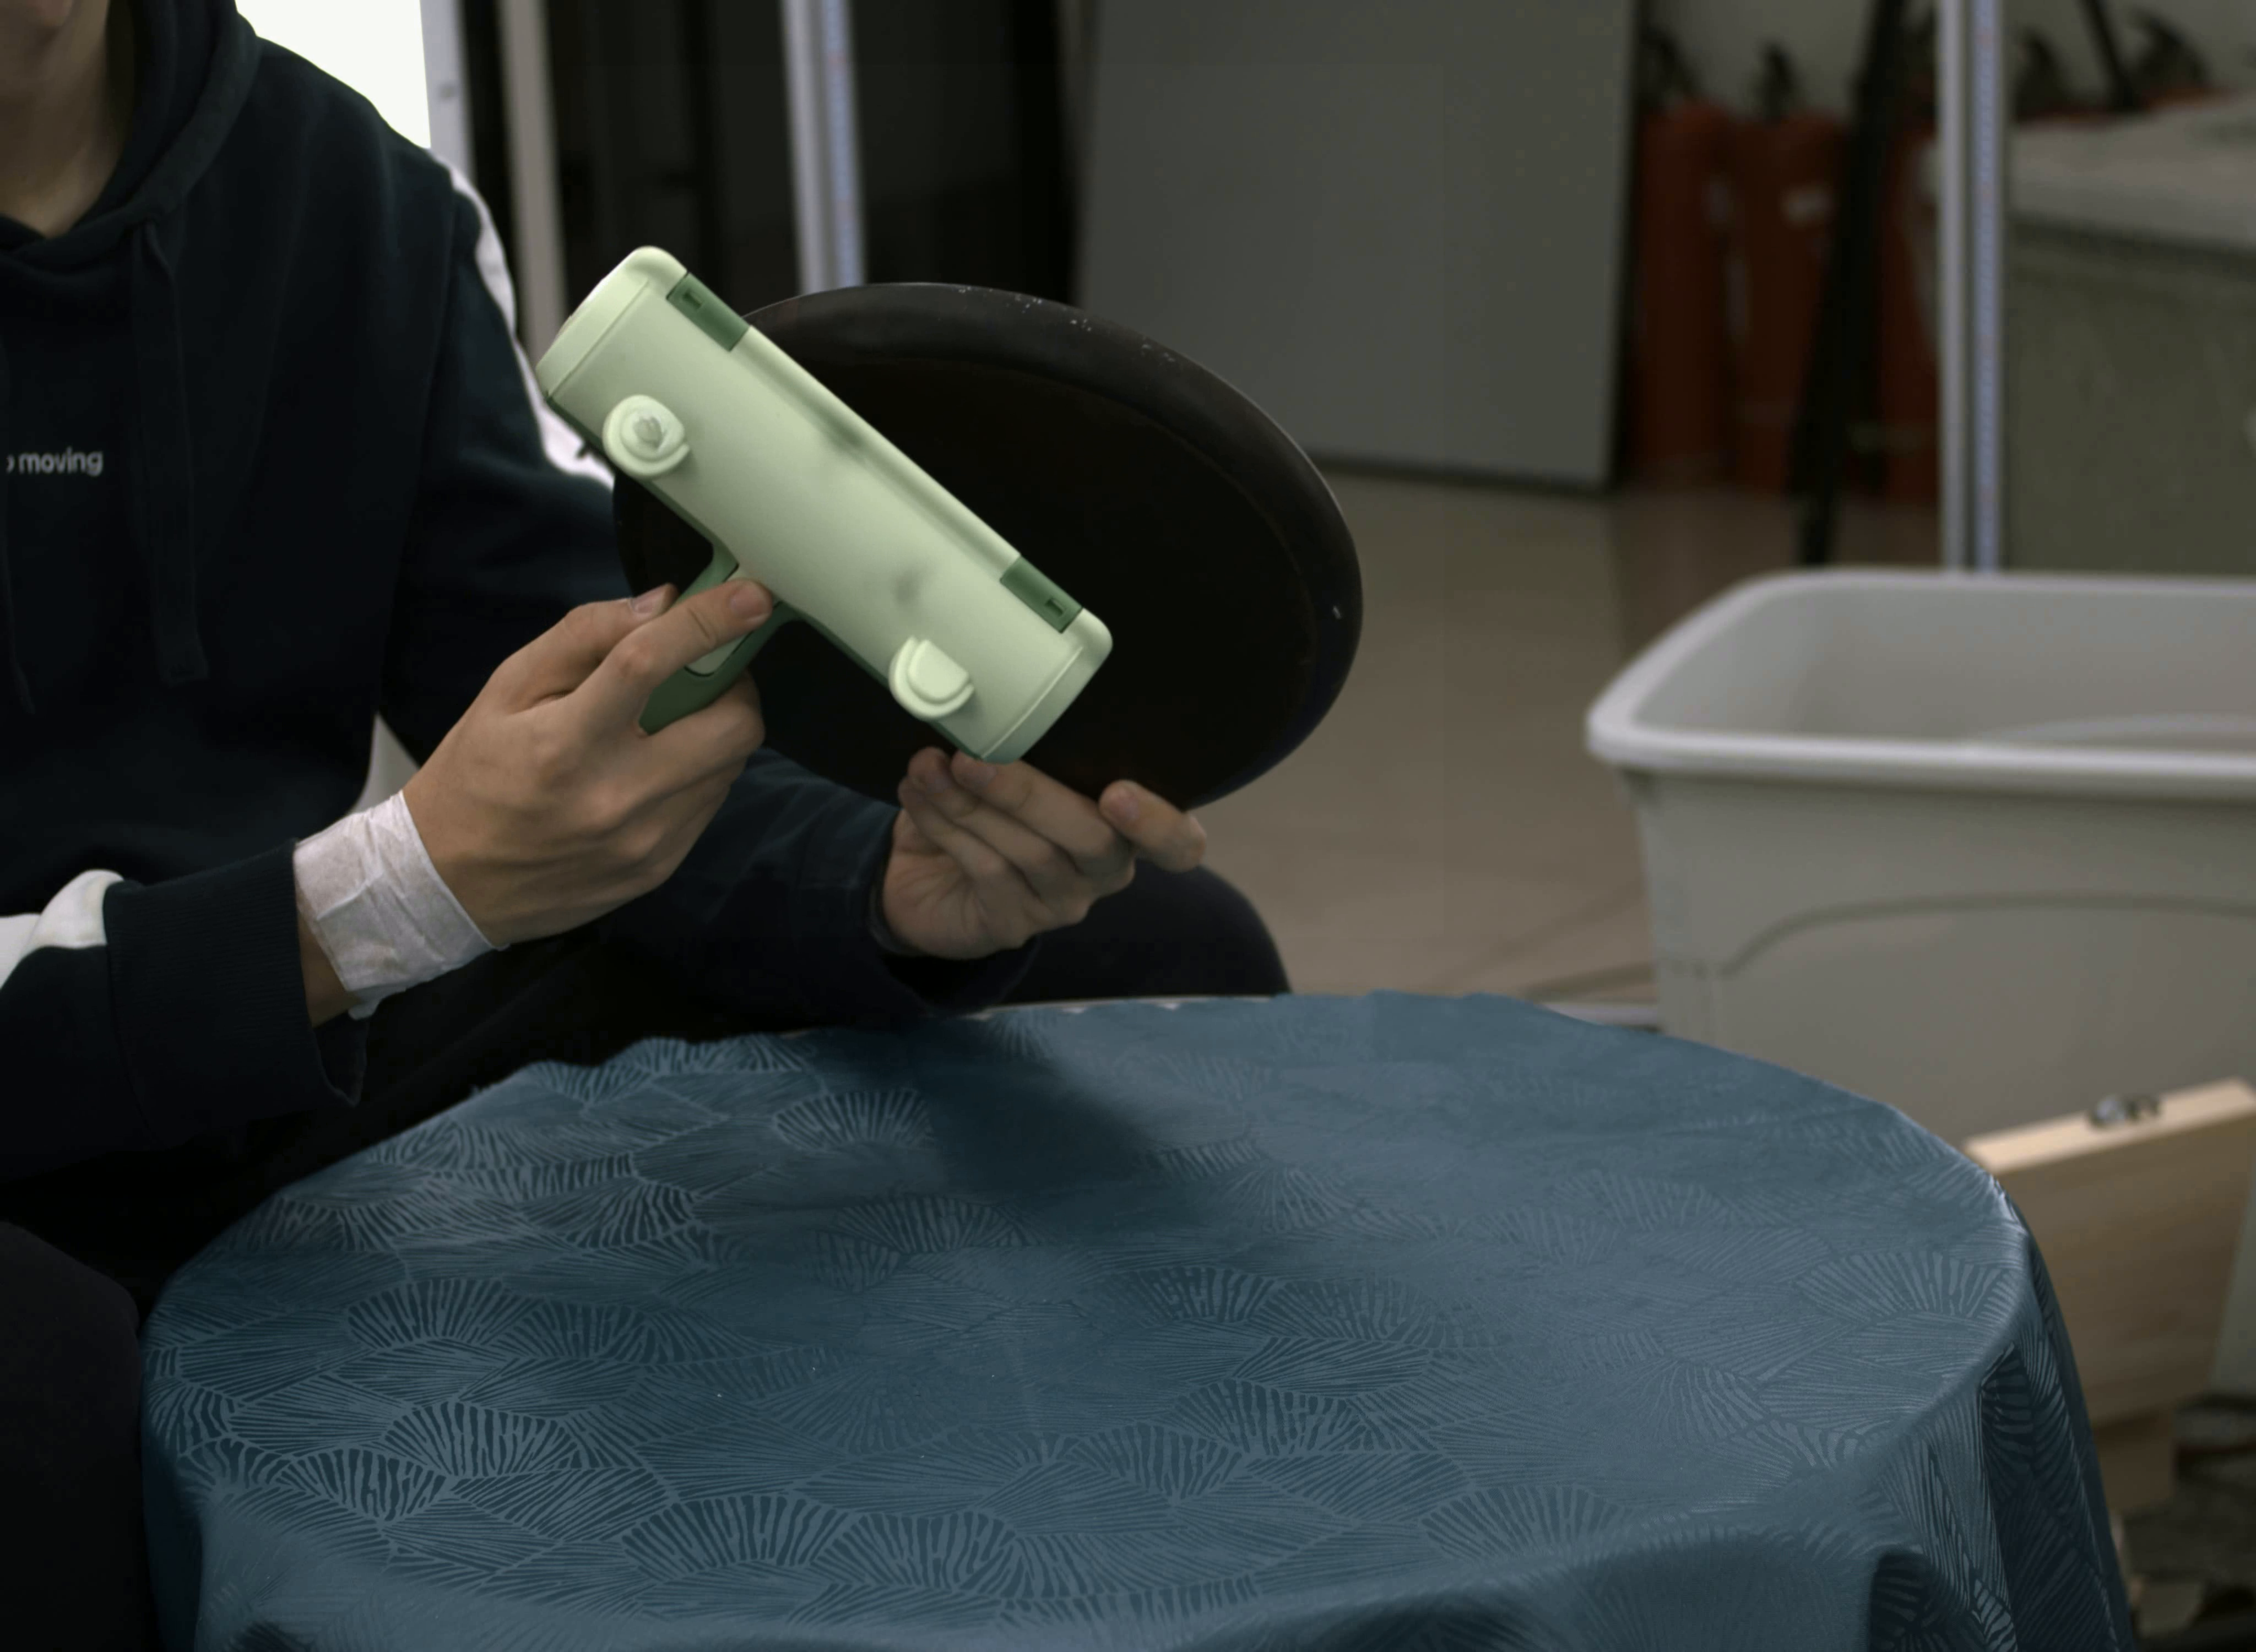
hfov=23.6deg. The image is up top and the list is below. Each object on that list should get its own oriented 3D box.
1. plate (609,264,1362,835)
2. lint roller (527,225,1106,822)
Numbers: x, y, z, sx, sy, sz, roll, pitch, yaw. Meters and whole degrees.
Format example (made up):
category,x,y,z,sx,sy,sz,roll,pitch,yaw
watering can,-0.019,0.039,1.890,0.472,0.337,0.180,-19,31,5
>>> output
category,x,y,z,sx,sy,sz,roll,pitch,yaw
plate,-0.049,-0.083,1.764,0.254,0.254,0.029,1,49,17
lint roller,-0.133,-0.060,1.696,0.197,0.184,0.082,40,19,-5
